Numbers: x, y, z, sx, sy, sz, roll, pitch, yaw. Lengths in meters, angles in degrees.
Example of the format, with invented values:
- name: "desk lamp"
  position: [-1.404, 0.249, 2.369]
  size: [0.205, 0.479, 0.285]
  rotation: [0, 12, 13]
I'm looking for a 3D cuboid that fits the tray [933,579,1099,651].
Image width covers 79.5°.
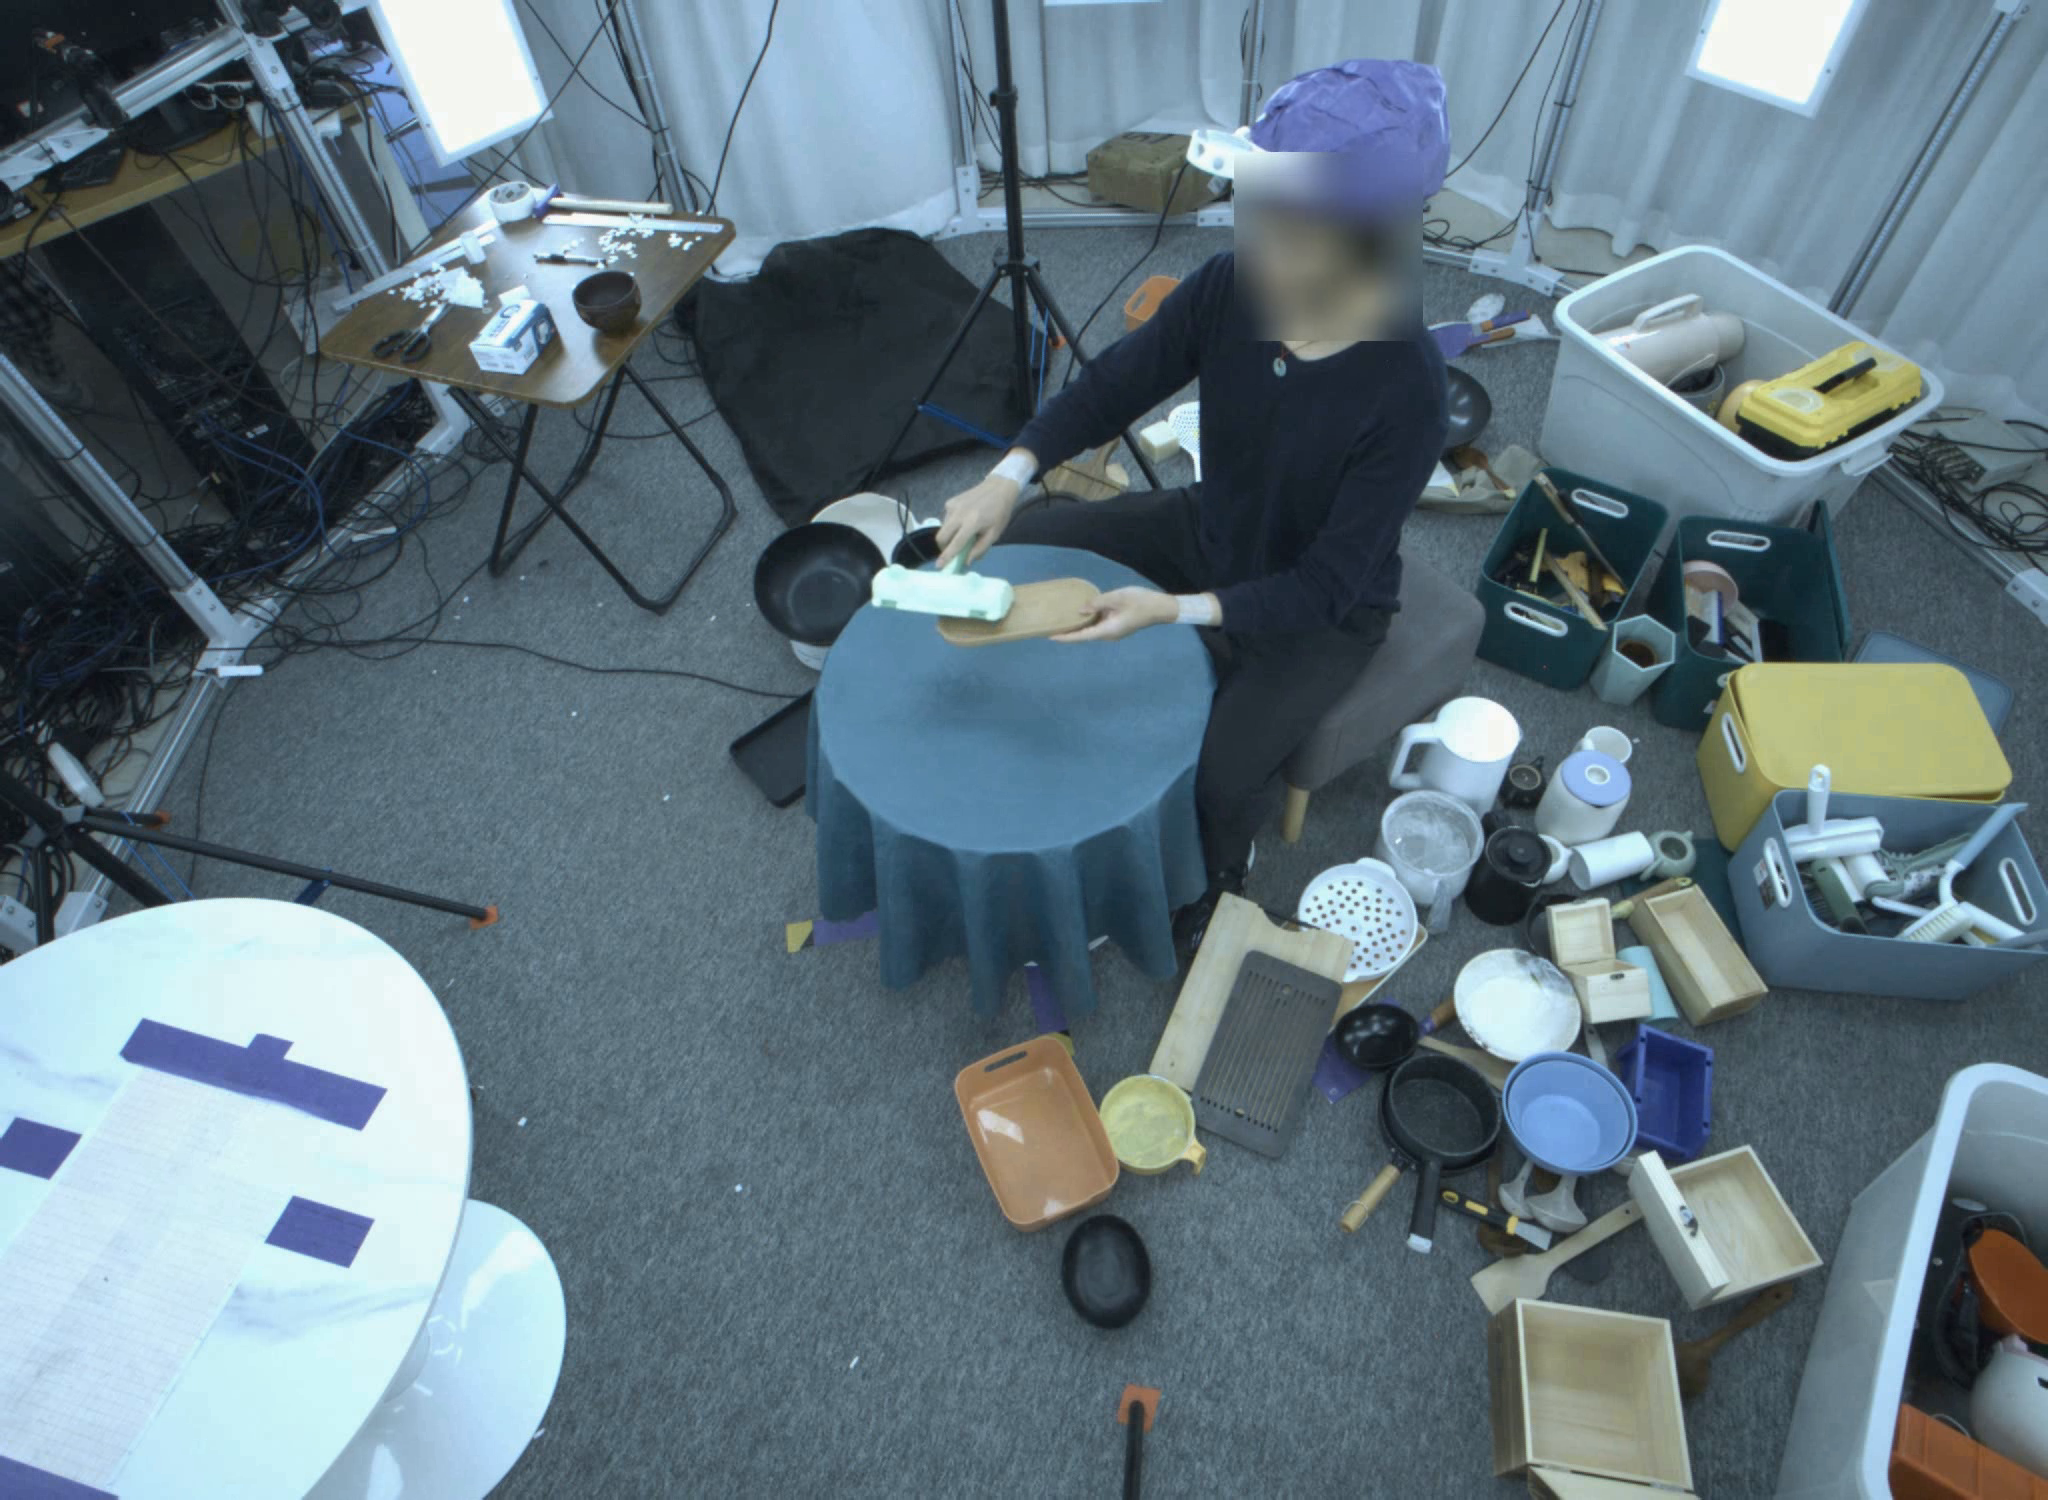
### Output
- name: "tray"
  position: [-0.011, -0.185, 1.687]
  size: [0.230, 0.020, 0.100]
  rotation: [-10, 47, 4]

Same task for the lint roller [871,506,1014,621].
- name: "lint roller"
  position: [-0.105, -0.271, 1.696]
  size: [0.196, 0.083, 0.183]
  rotation: [9, 76, 18]
